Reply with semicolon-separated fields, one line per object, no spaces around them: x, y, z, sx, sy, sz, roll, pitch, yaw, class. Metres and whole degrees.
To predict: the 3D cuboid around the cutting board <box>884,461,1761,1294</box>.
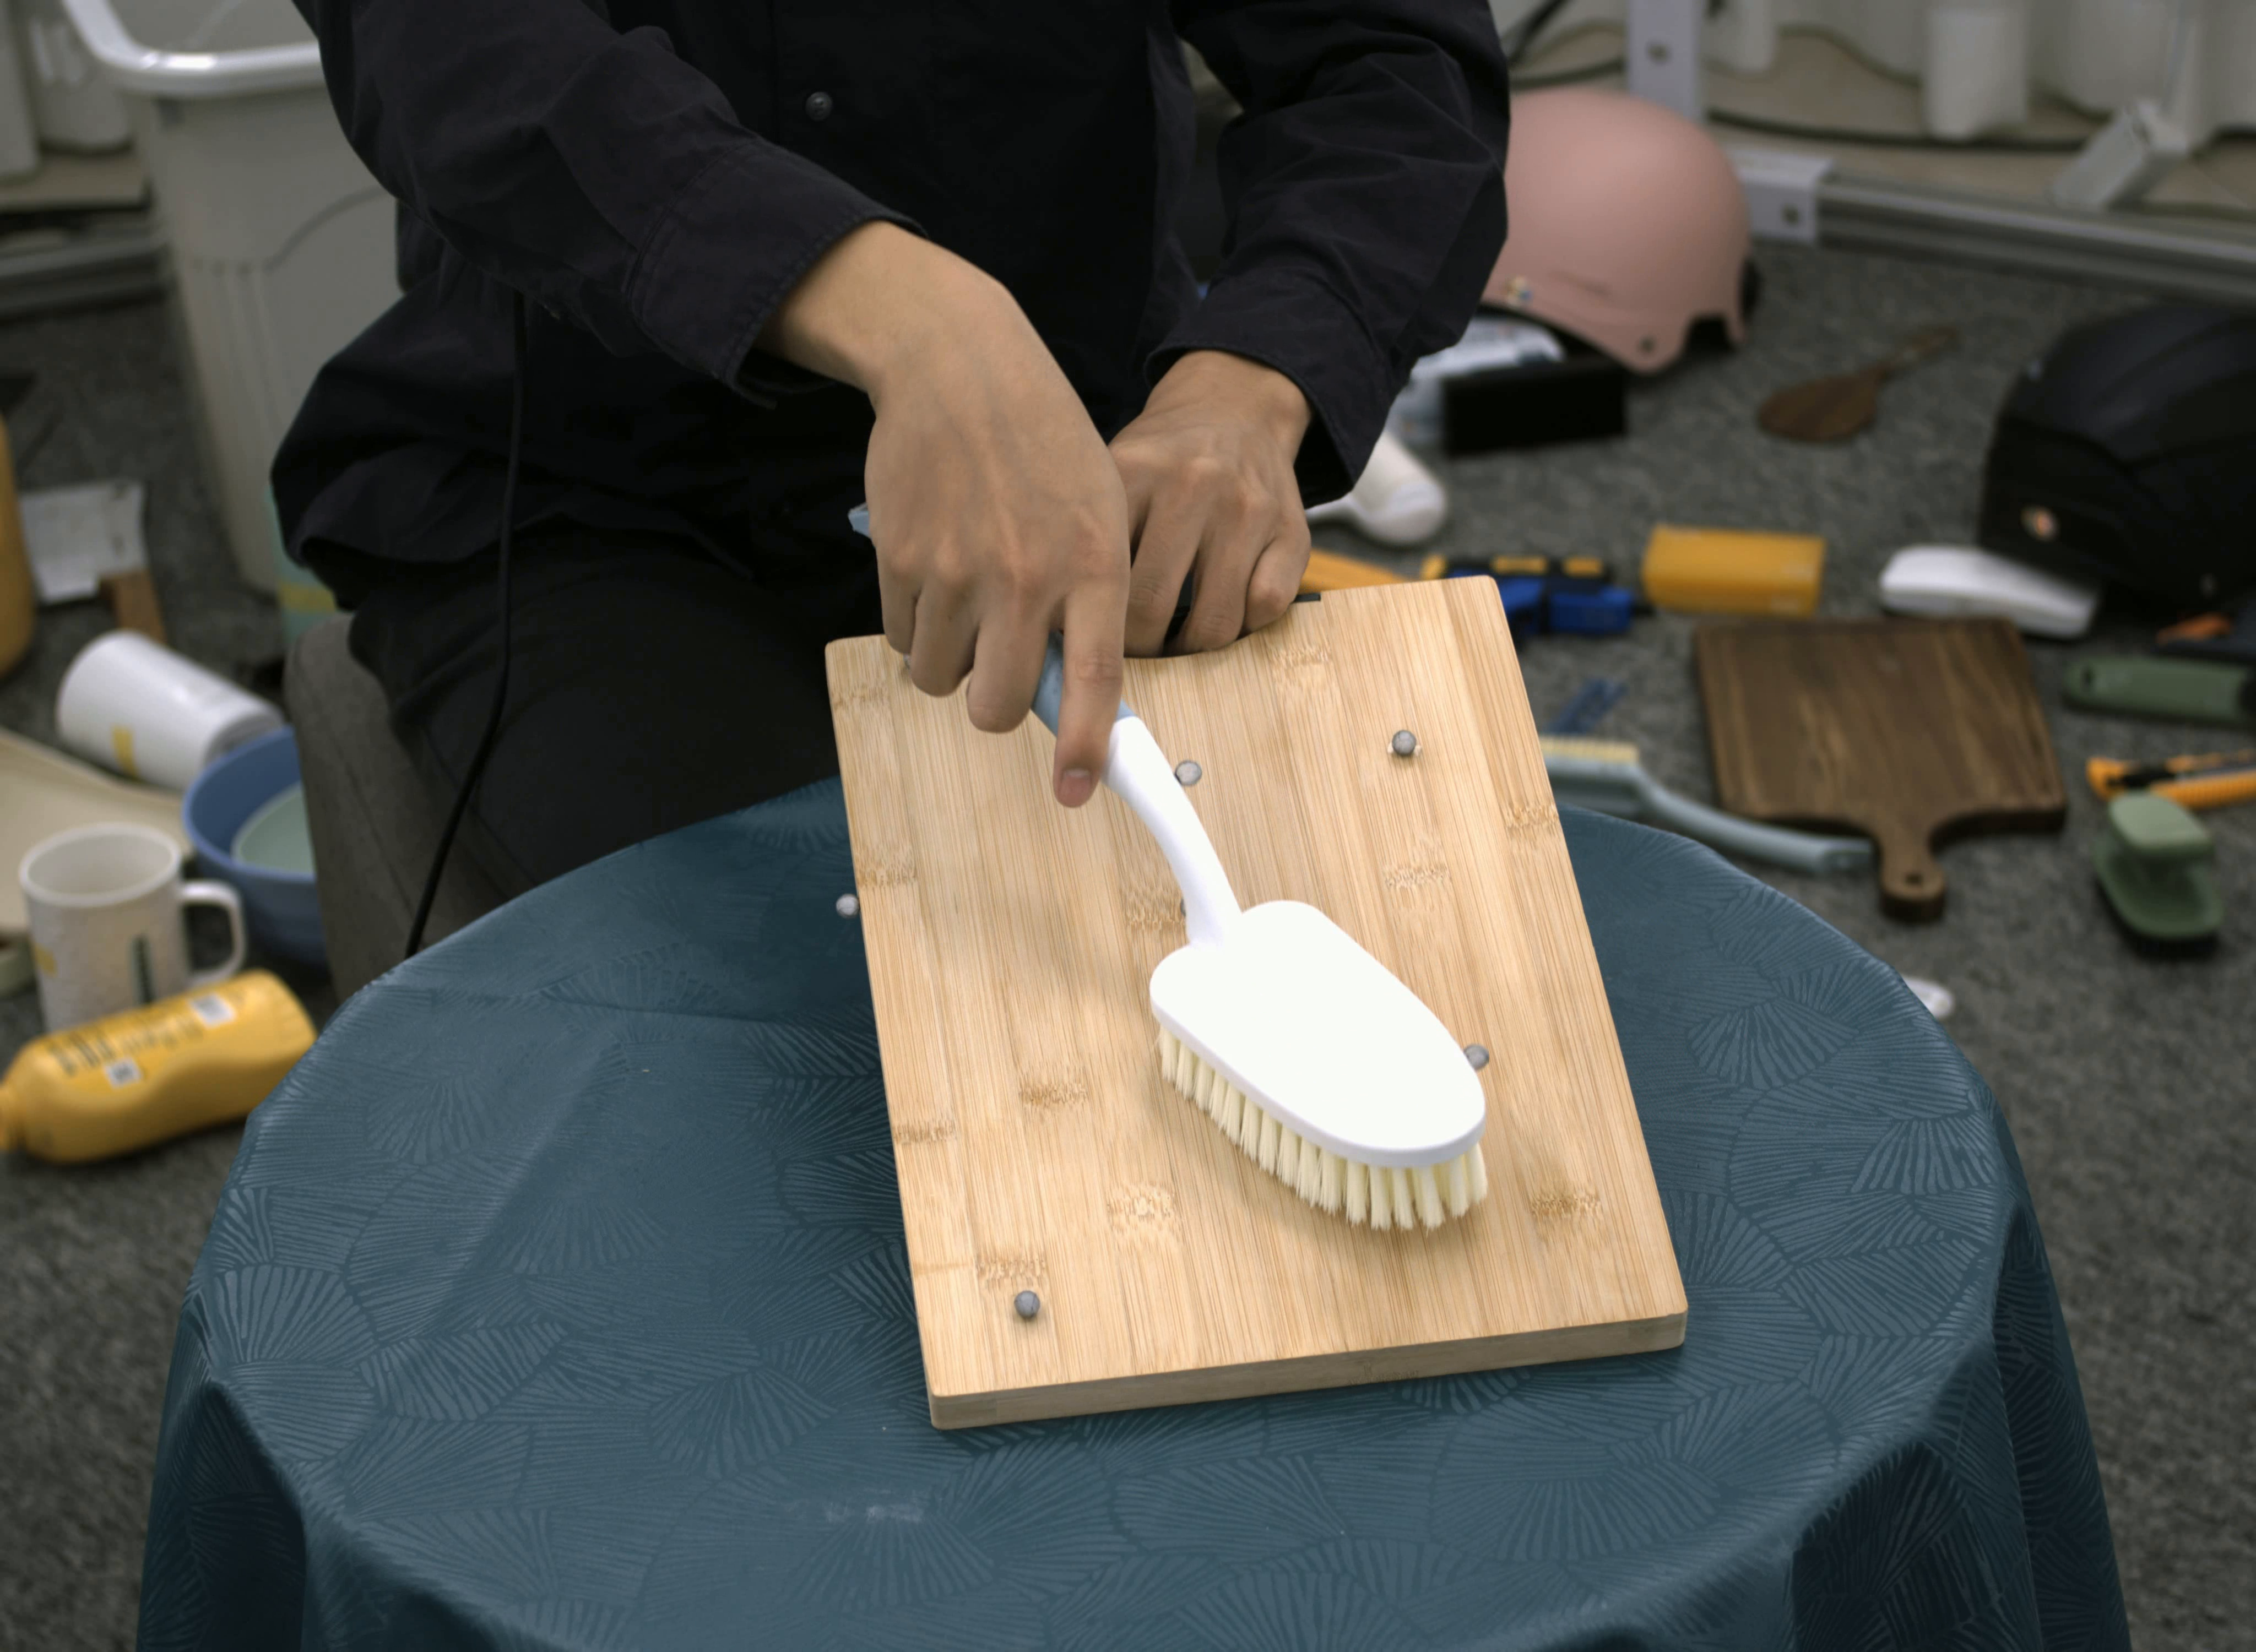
0.057;0.011;1.884;0.250;0.023;0.355;-6;45;-7;cutting board

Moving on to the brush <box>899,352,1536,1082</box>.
0.026;-0.031;1.860;0.328;0.083;0.083;48;24;26;brush
